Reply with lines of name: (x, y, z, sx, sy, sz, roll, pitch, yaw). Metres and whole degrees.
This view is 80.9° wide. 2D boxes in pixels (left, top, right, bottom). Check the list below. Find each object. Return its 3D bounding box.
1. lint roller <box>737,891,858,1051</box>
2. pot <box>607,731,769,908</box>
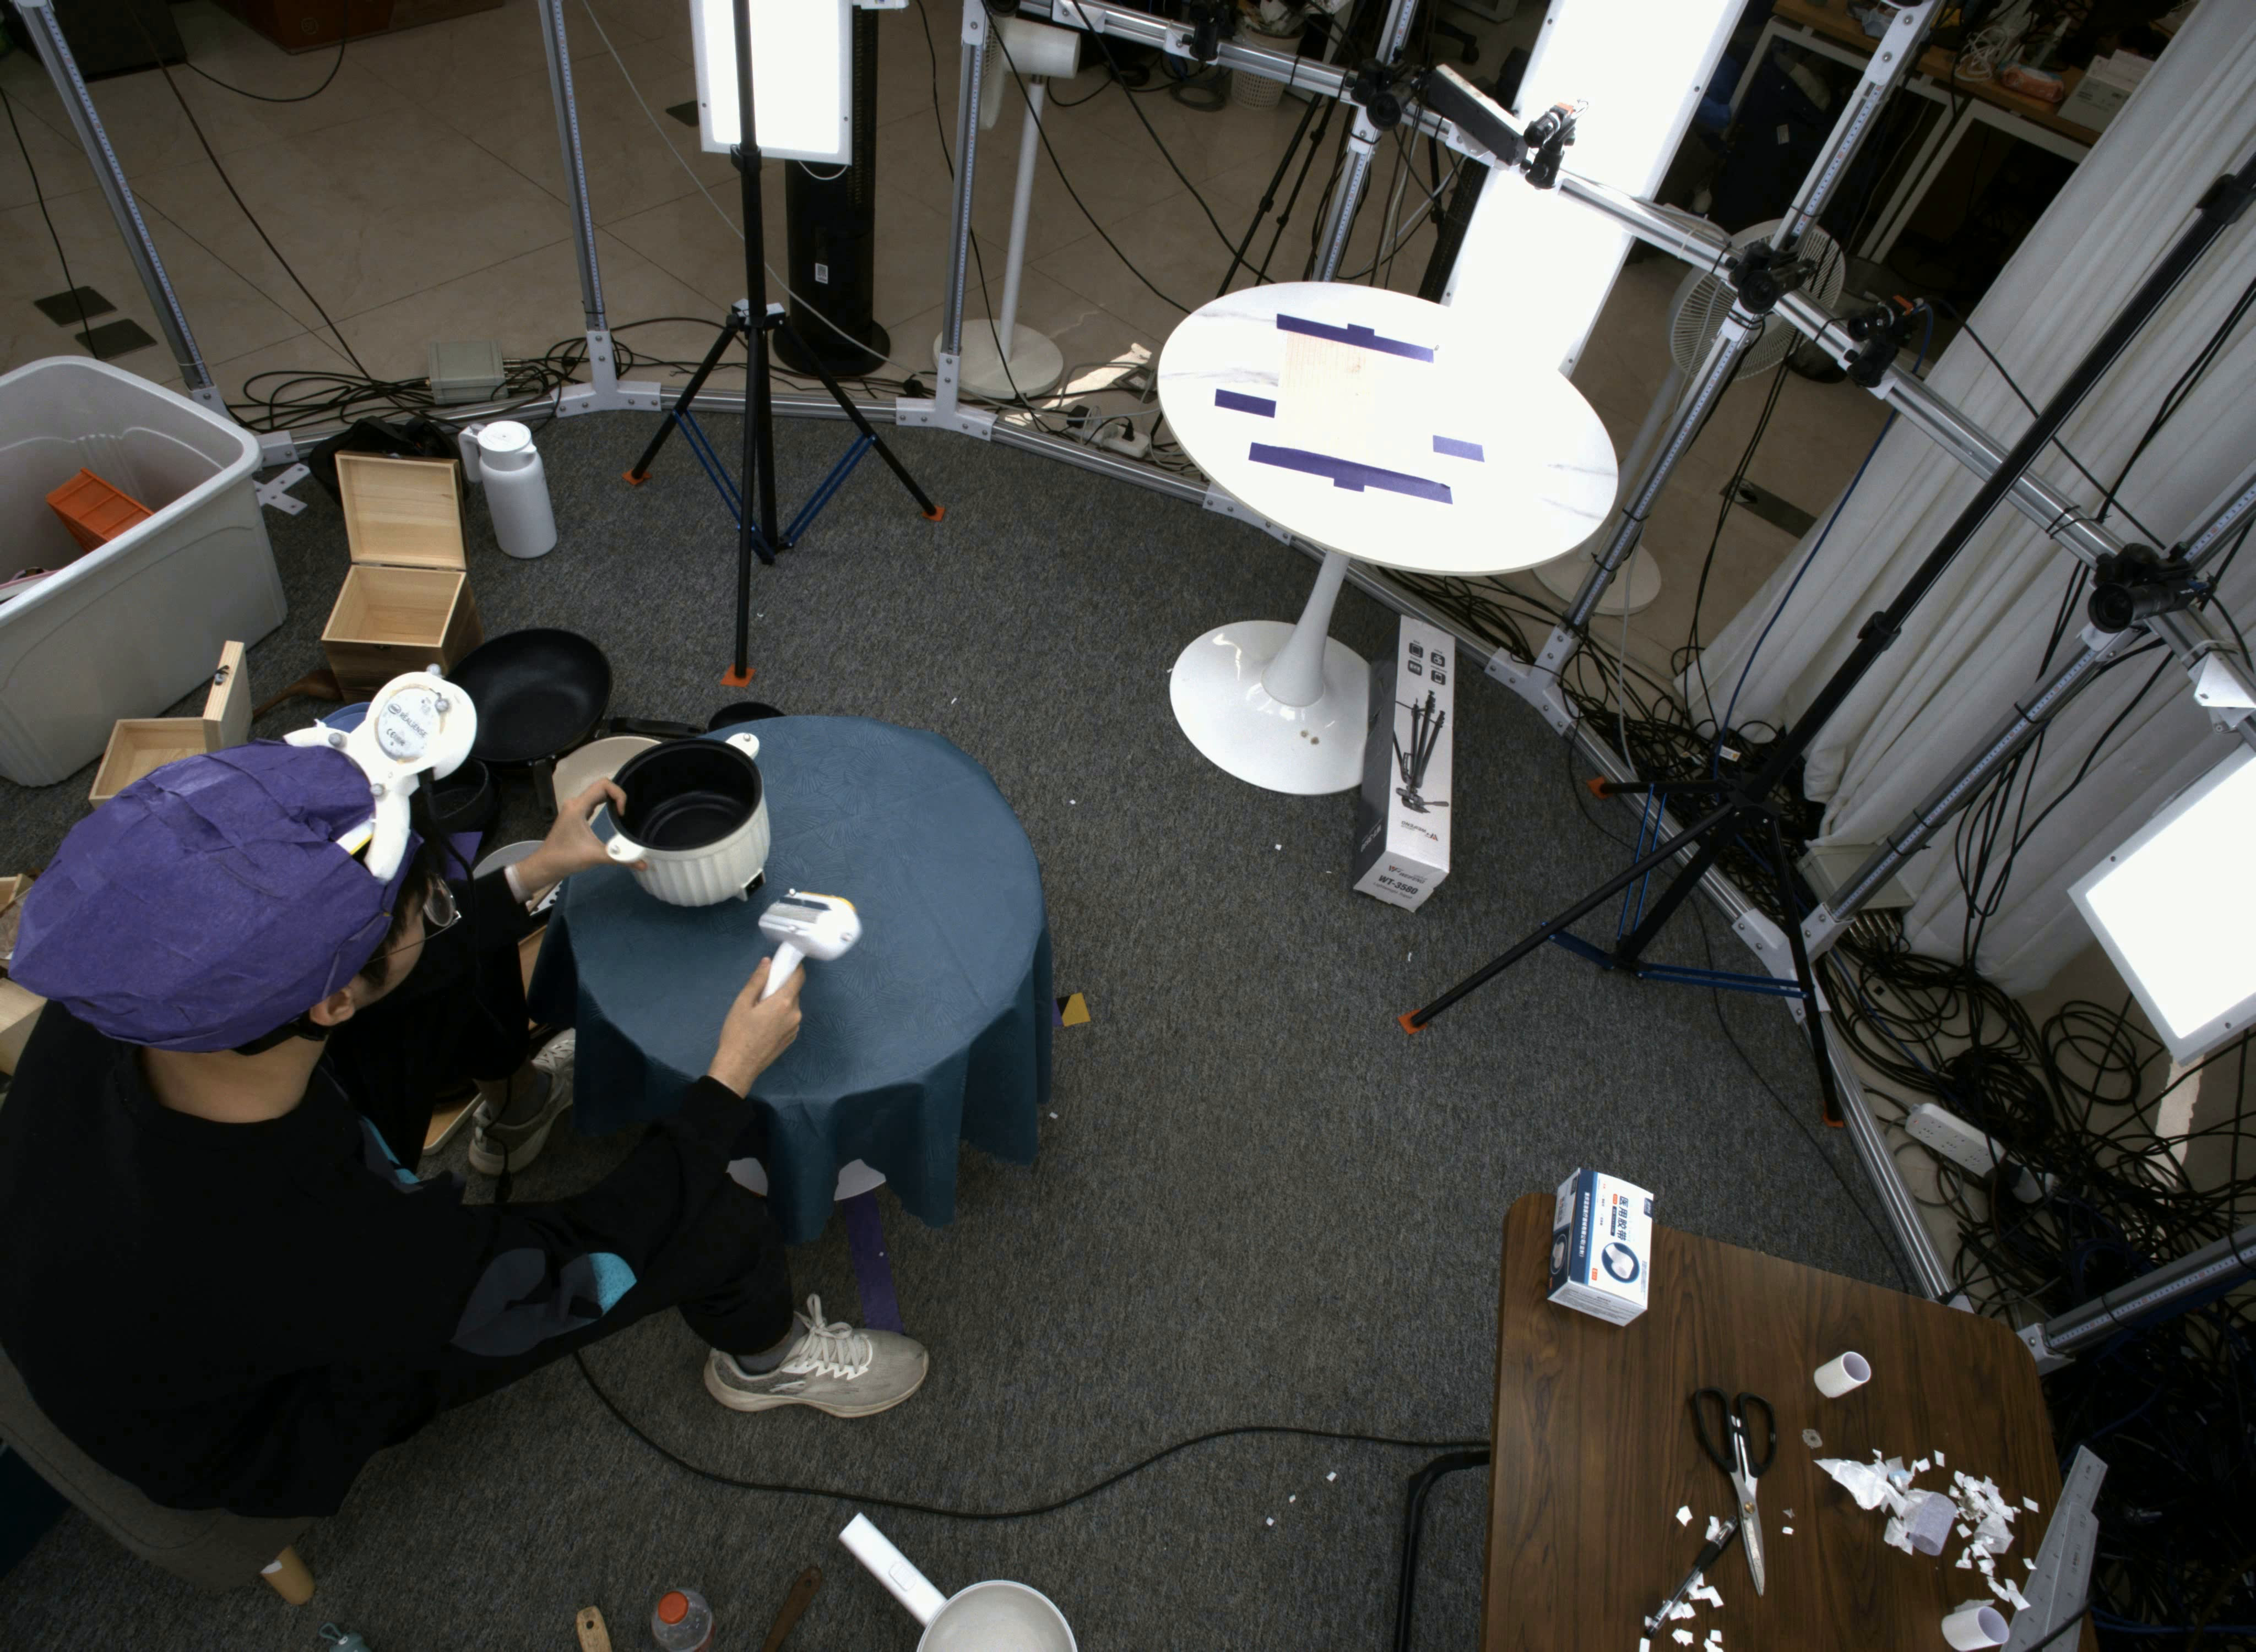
lint roller: (-0.400, 0.163, 1.496, 0.076, 0.187, 0.192, 43, 72, -28)
pot: (-0.537, -0.001, 1.574, 0.186, 0.146, 0.240, 28, 51, 15)
